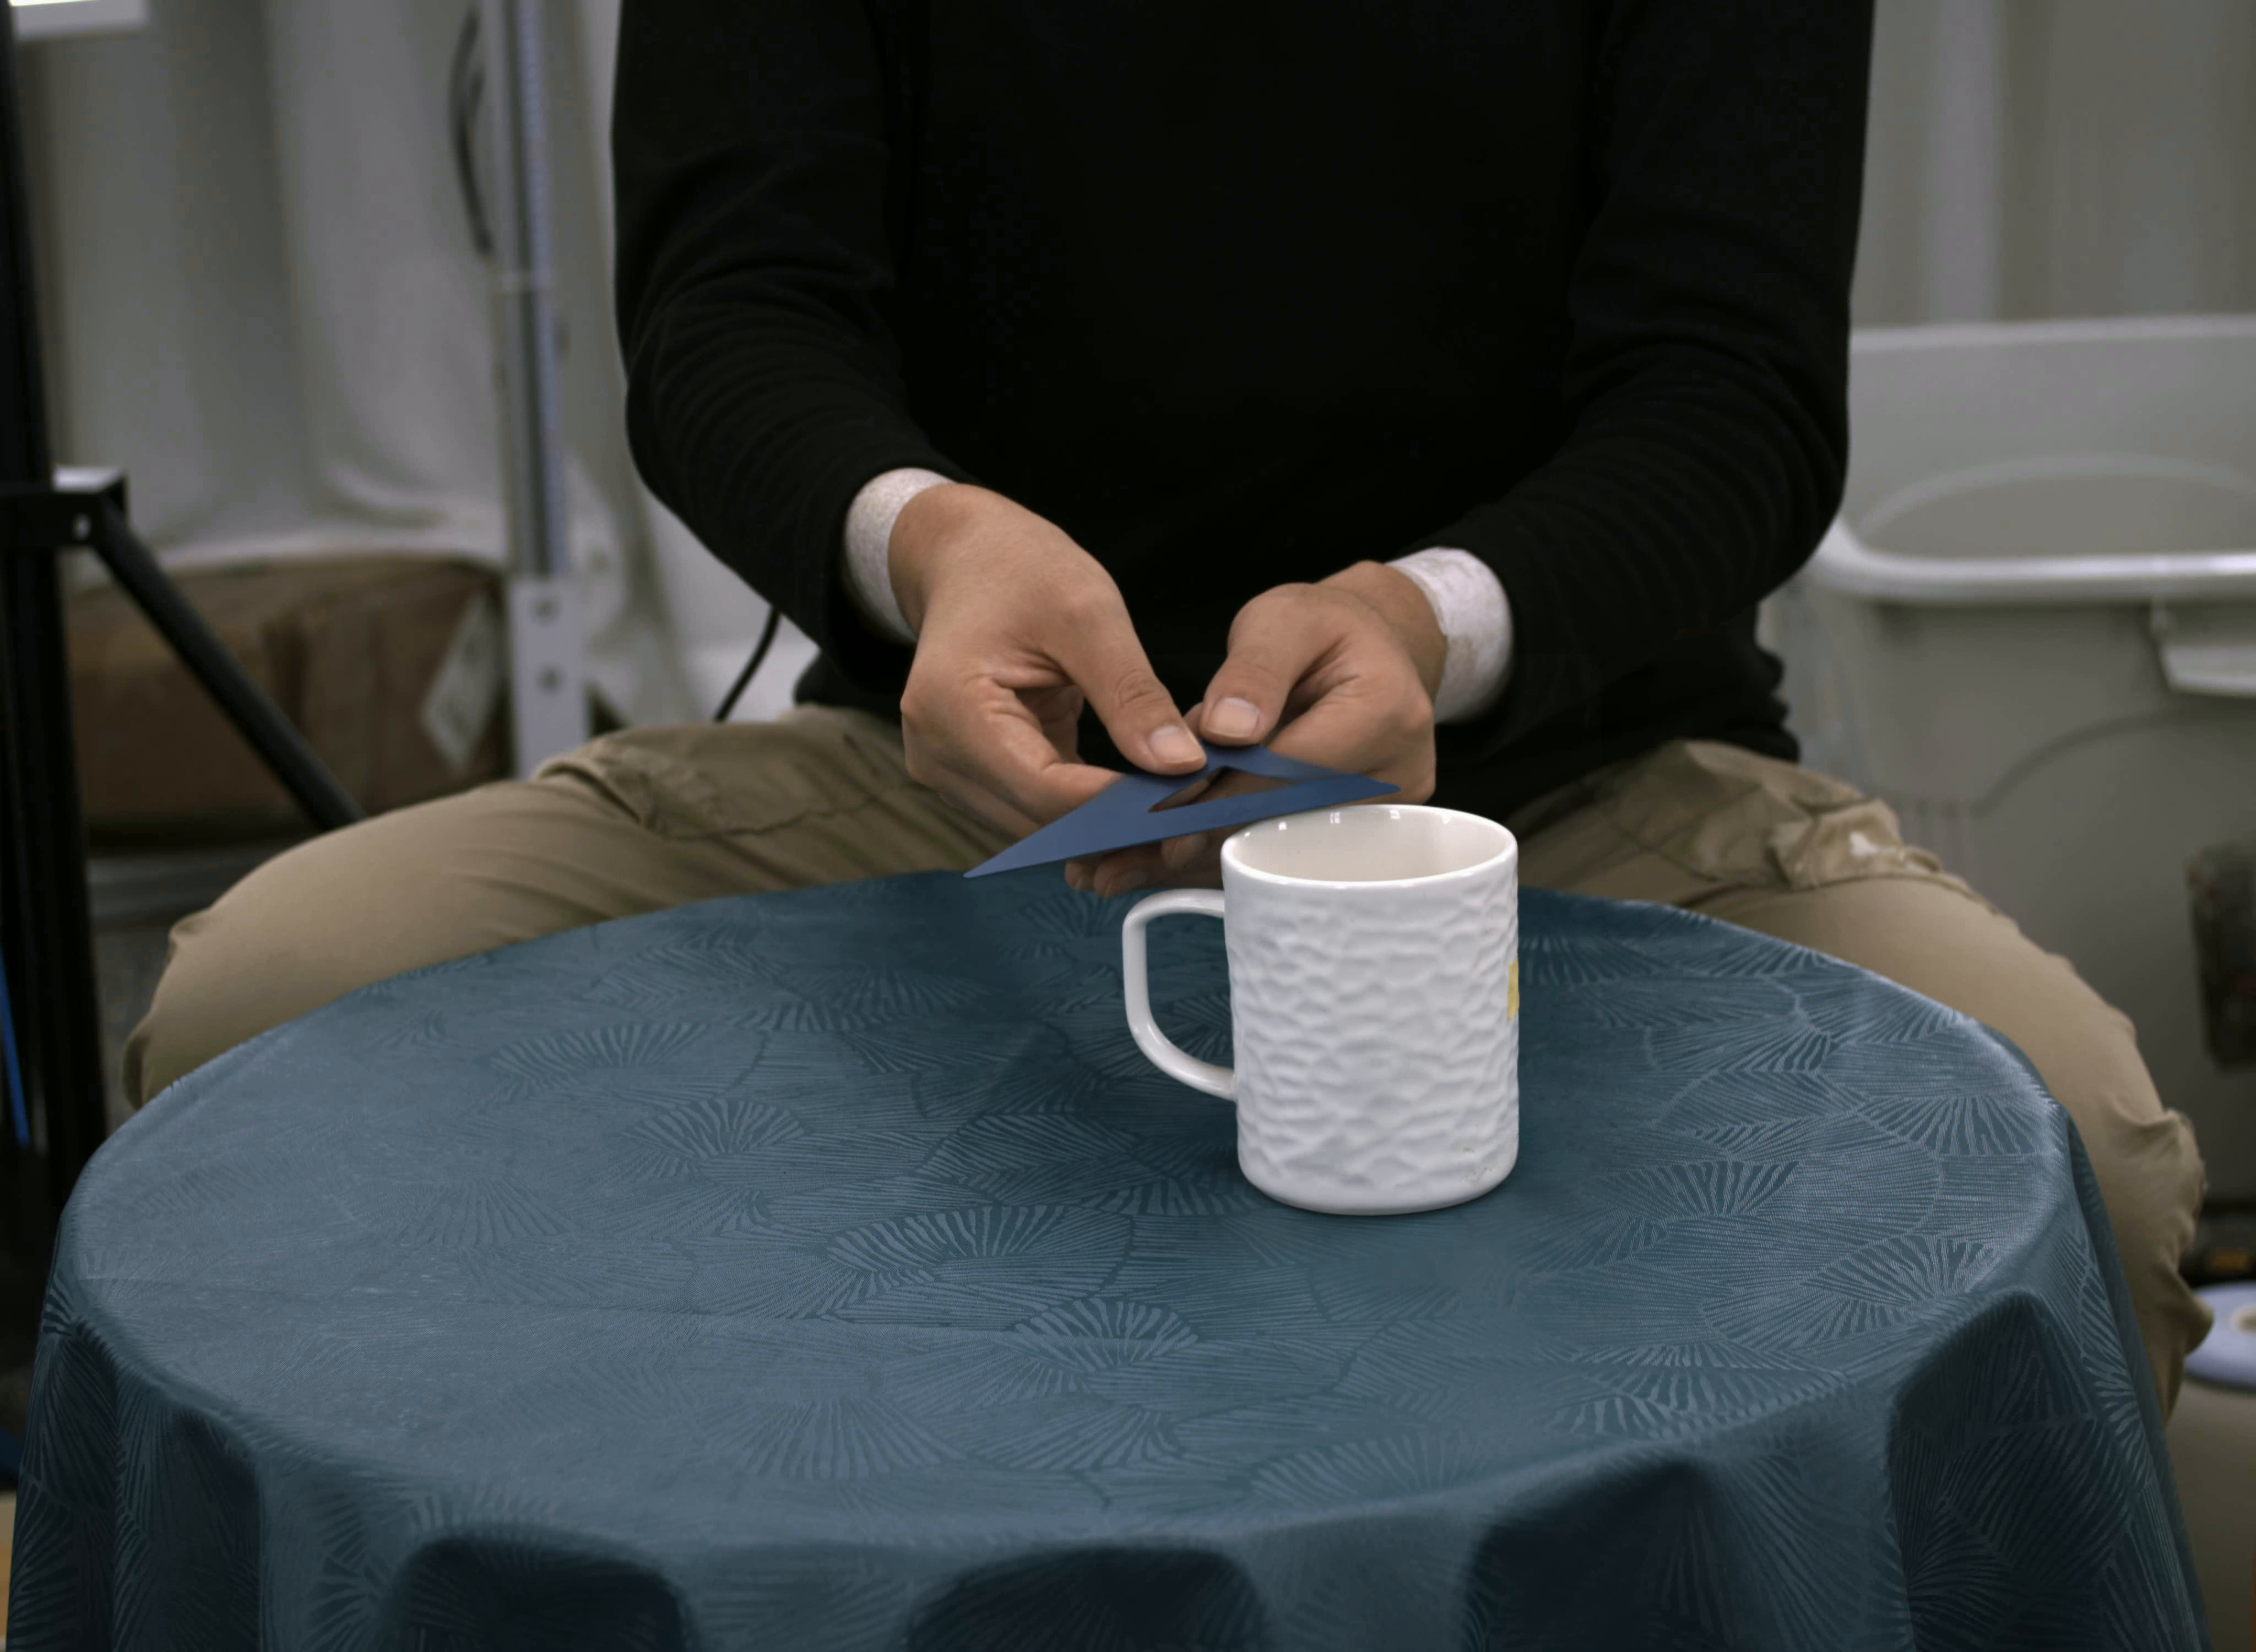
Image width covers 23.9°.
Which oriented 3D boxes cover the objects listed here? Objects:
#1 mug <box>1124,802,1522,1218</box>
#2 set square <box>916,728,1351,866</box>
[{"bbox_3d":[0.057,0.053,1.554,0.119,0.102,0.084,2,16,15],"label":"mug"},{"bbox_3d":[-0.005,-0.012,1.573,0.130,0.006,0.062,-10,27,-14],"label":"set square"}]
